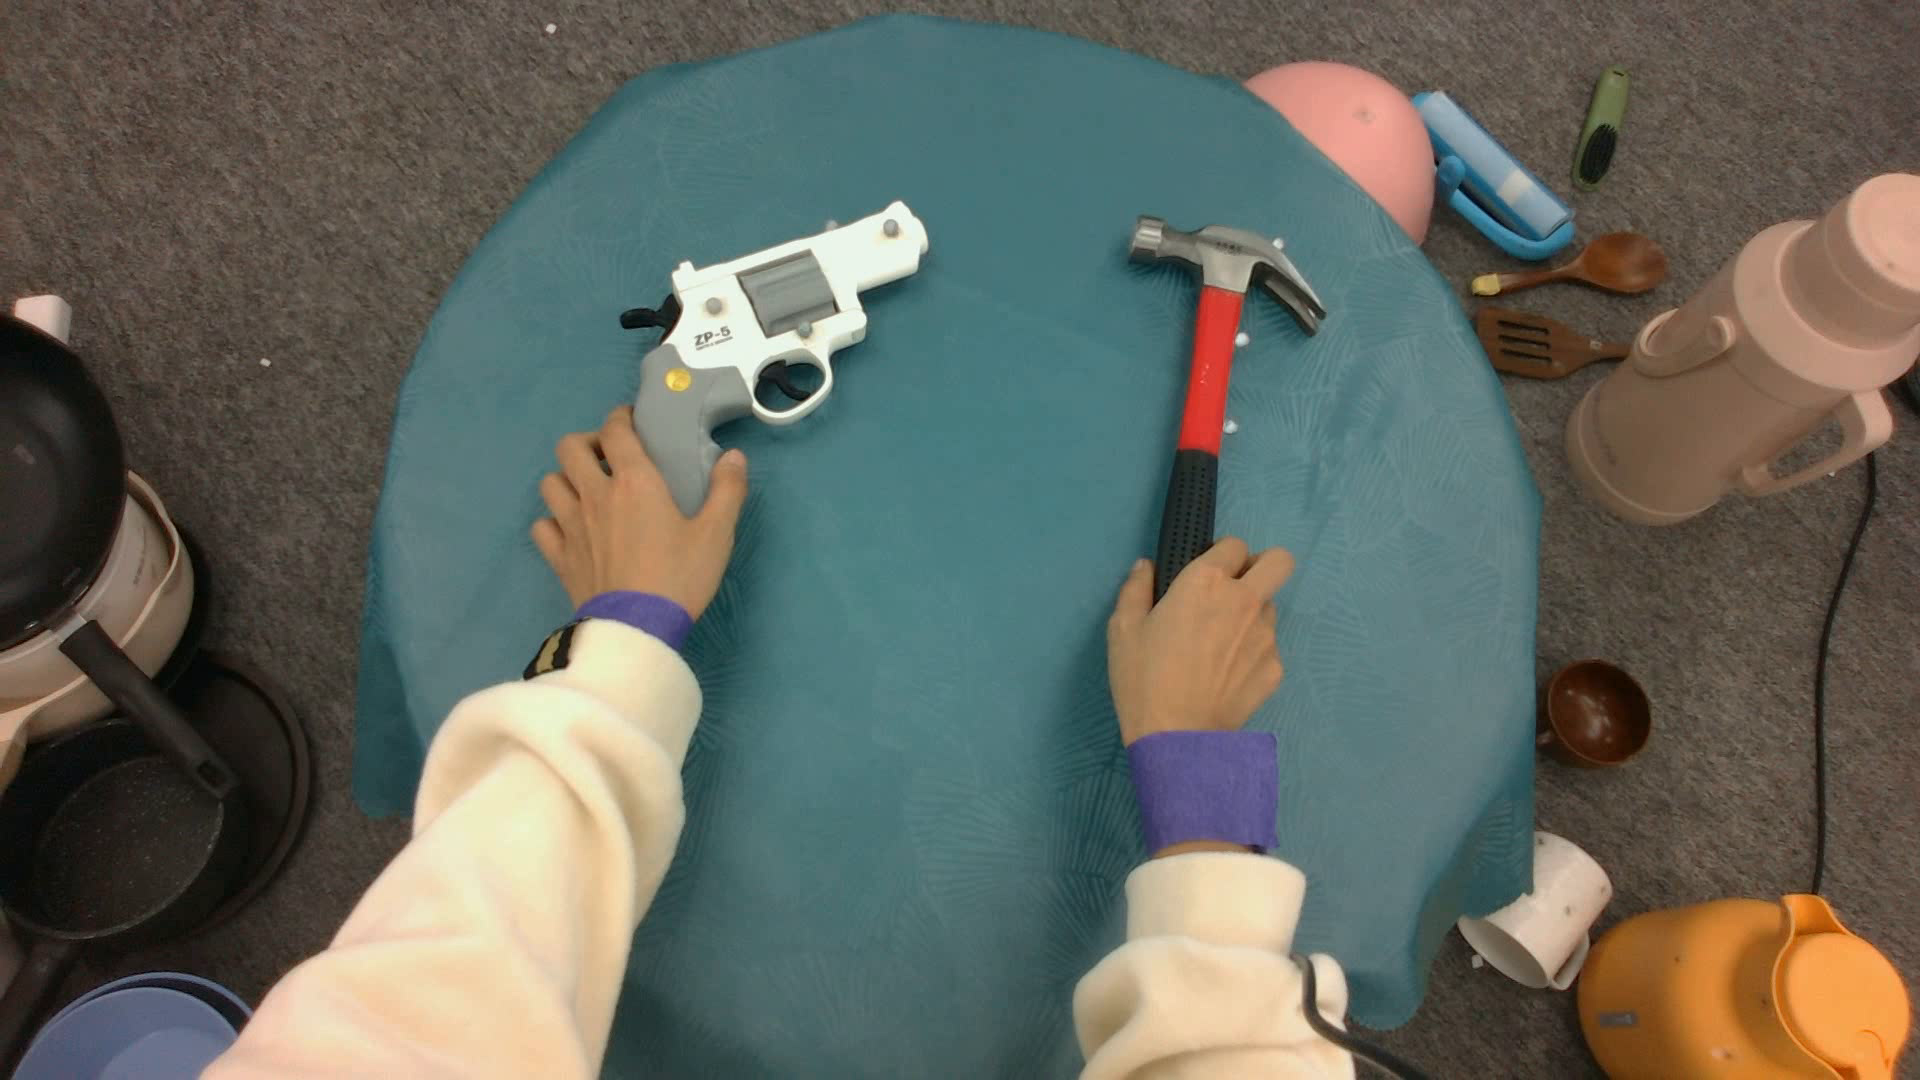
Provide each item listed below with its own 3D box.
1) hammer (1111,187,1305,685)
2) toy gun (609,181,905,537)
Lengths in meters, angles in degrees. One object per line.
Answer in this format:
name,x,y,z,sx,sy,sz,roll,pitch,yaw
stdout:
hammer,0.117,-0.058,0.716,0.111,0.026,0.278,16,65,-9
toy gun,-0.102,-0.098,0.710,0.209,0.038,0.142,-25,74,-16
